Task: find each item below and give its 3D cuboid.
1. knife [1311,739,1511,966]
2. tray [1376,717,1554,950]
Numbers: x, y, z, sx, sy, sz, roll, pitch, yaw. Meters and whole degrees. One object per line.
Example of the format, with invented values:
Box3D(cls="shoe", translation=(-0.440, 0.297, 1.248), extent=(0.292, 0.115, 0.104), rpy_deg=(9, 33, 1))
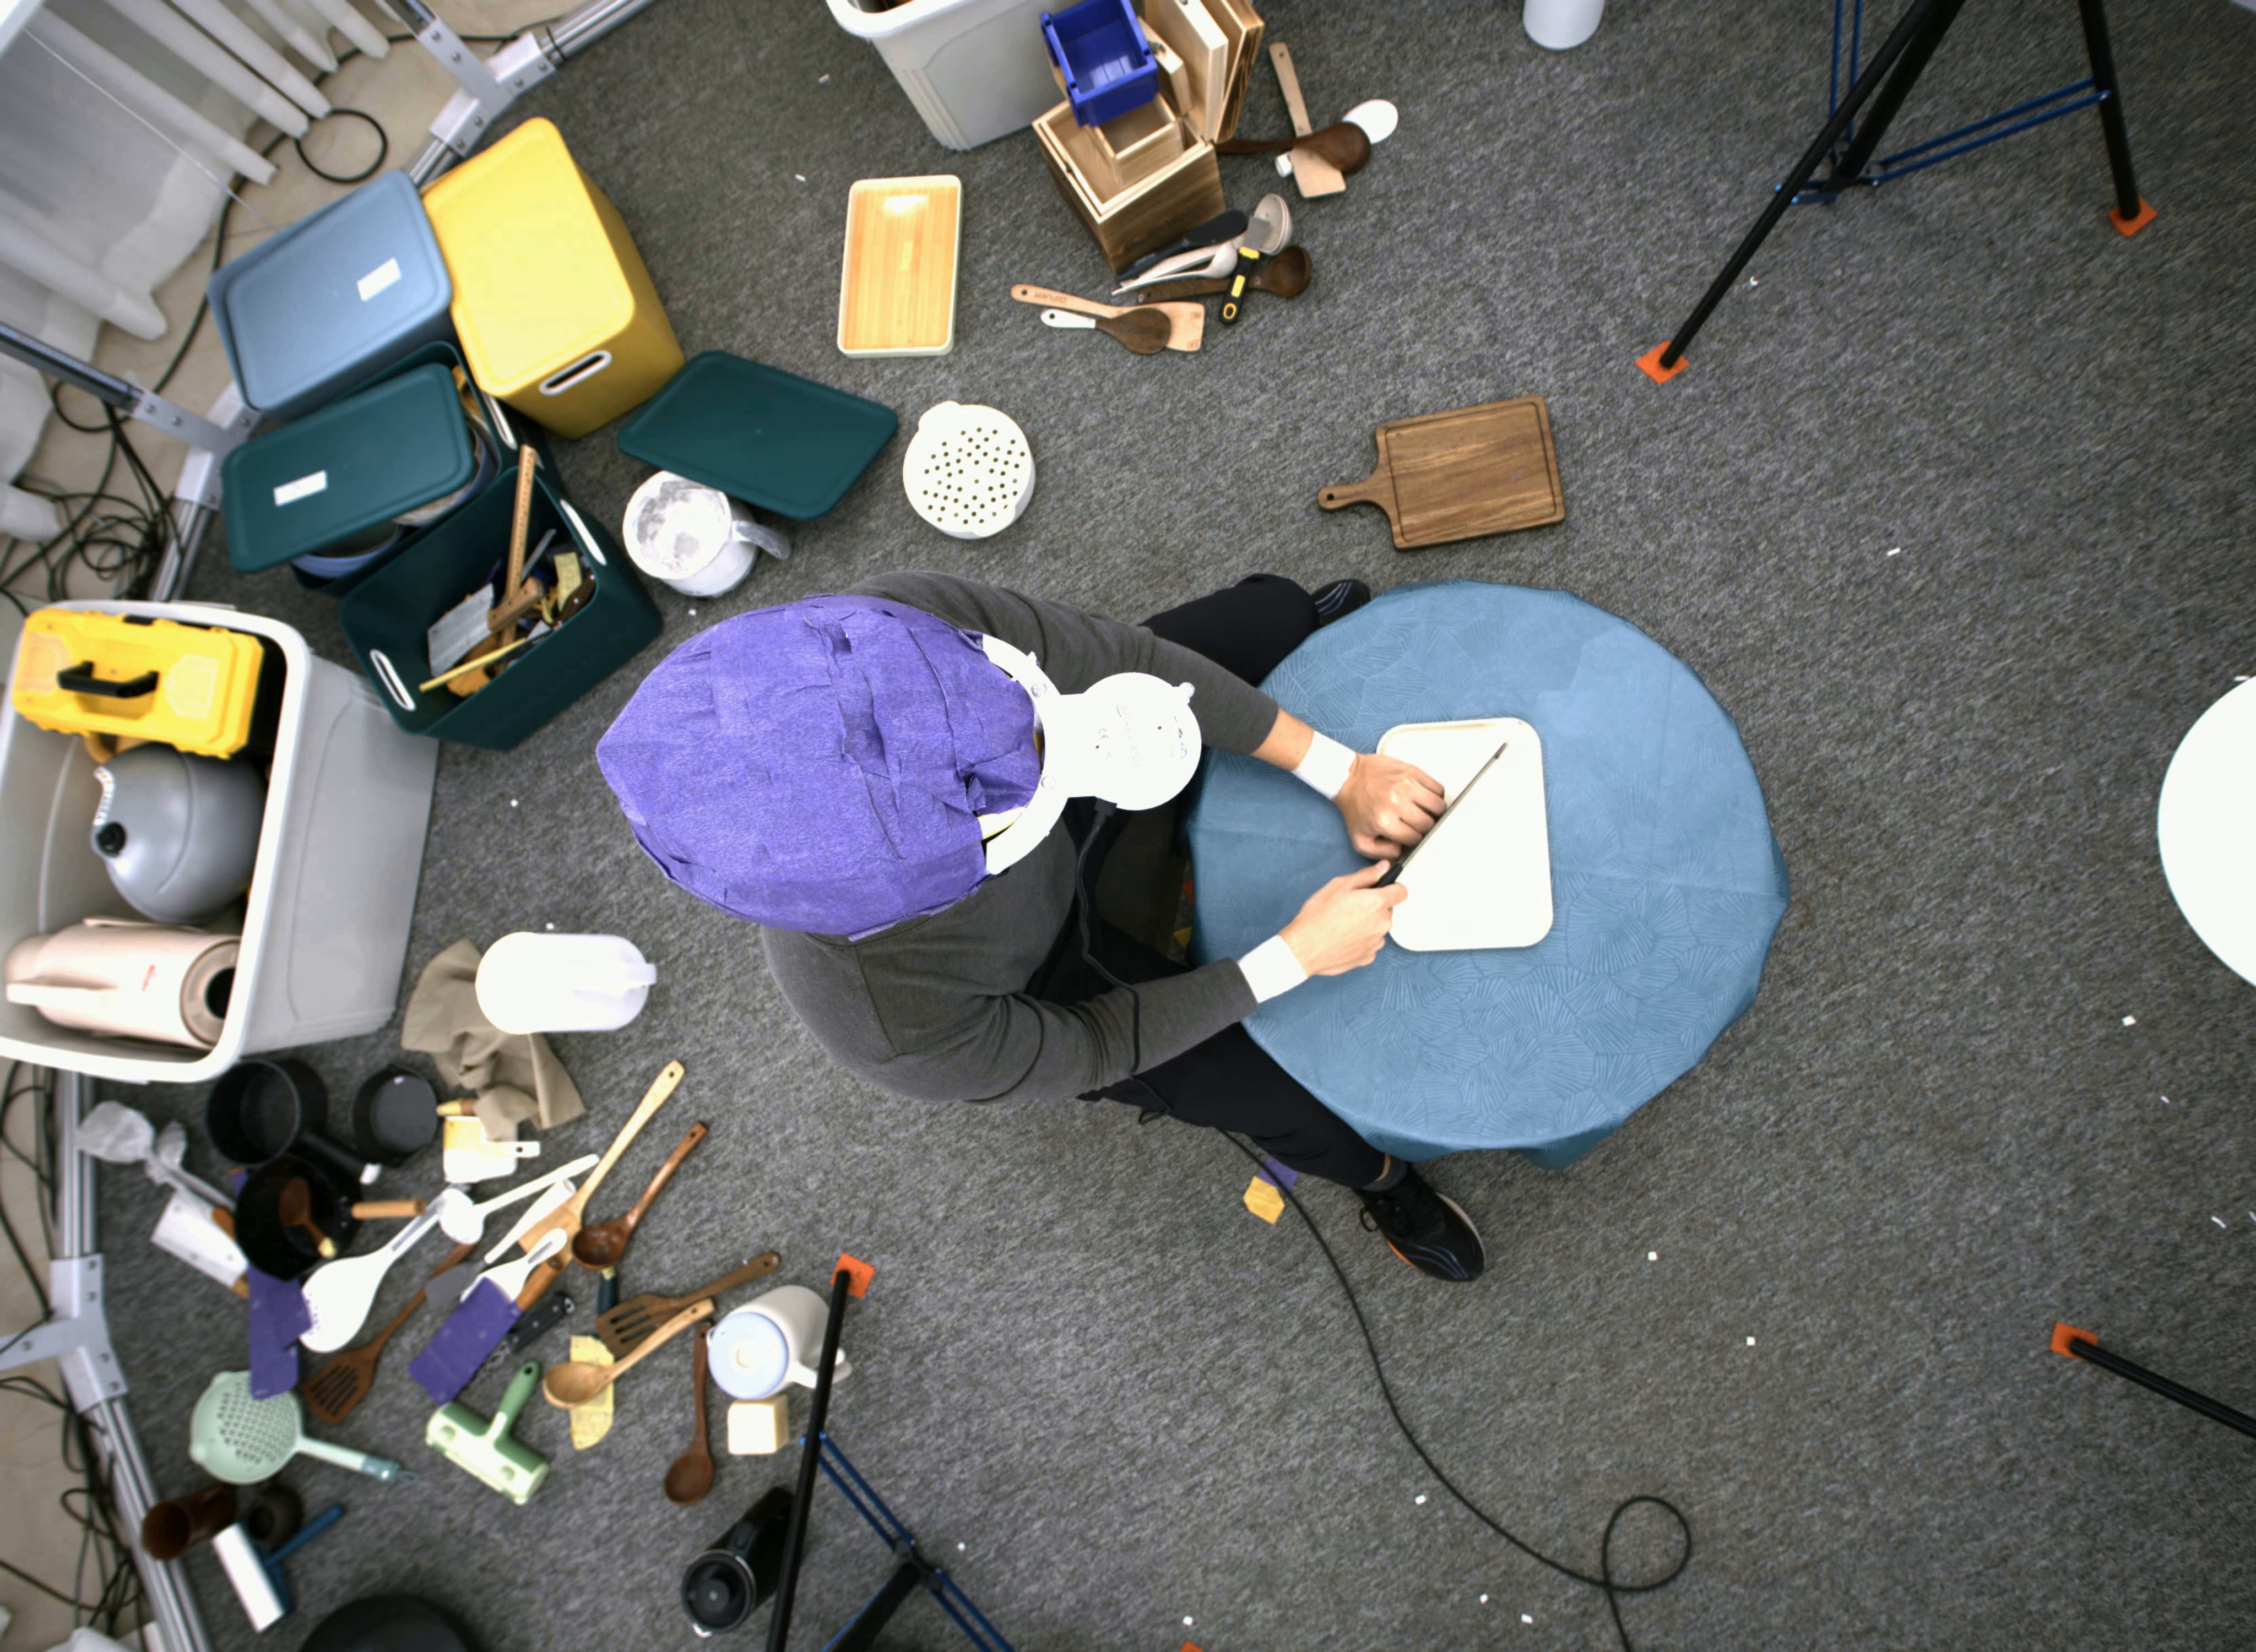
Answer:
Box3D(cls="knife", translation=(0.293, 0.026, 1.414), extent=(0.021, 0.081, 0.302), rpy_deg=(42, 91, 14))
Box3D(cls="tray", translation=(0.351, 0.006, 1.439), extent=(0.172, 0.017, 0.238), rpy_deg=(-3, 86, 11))
